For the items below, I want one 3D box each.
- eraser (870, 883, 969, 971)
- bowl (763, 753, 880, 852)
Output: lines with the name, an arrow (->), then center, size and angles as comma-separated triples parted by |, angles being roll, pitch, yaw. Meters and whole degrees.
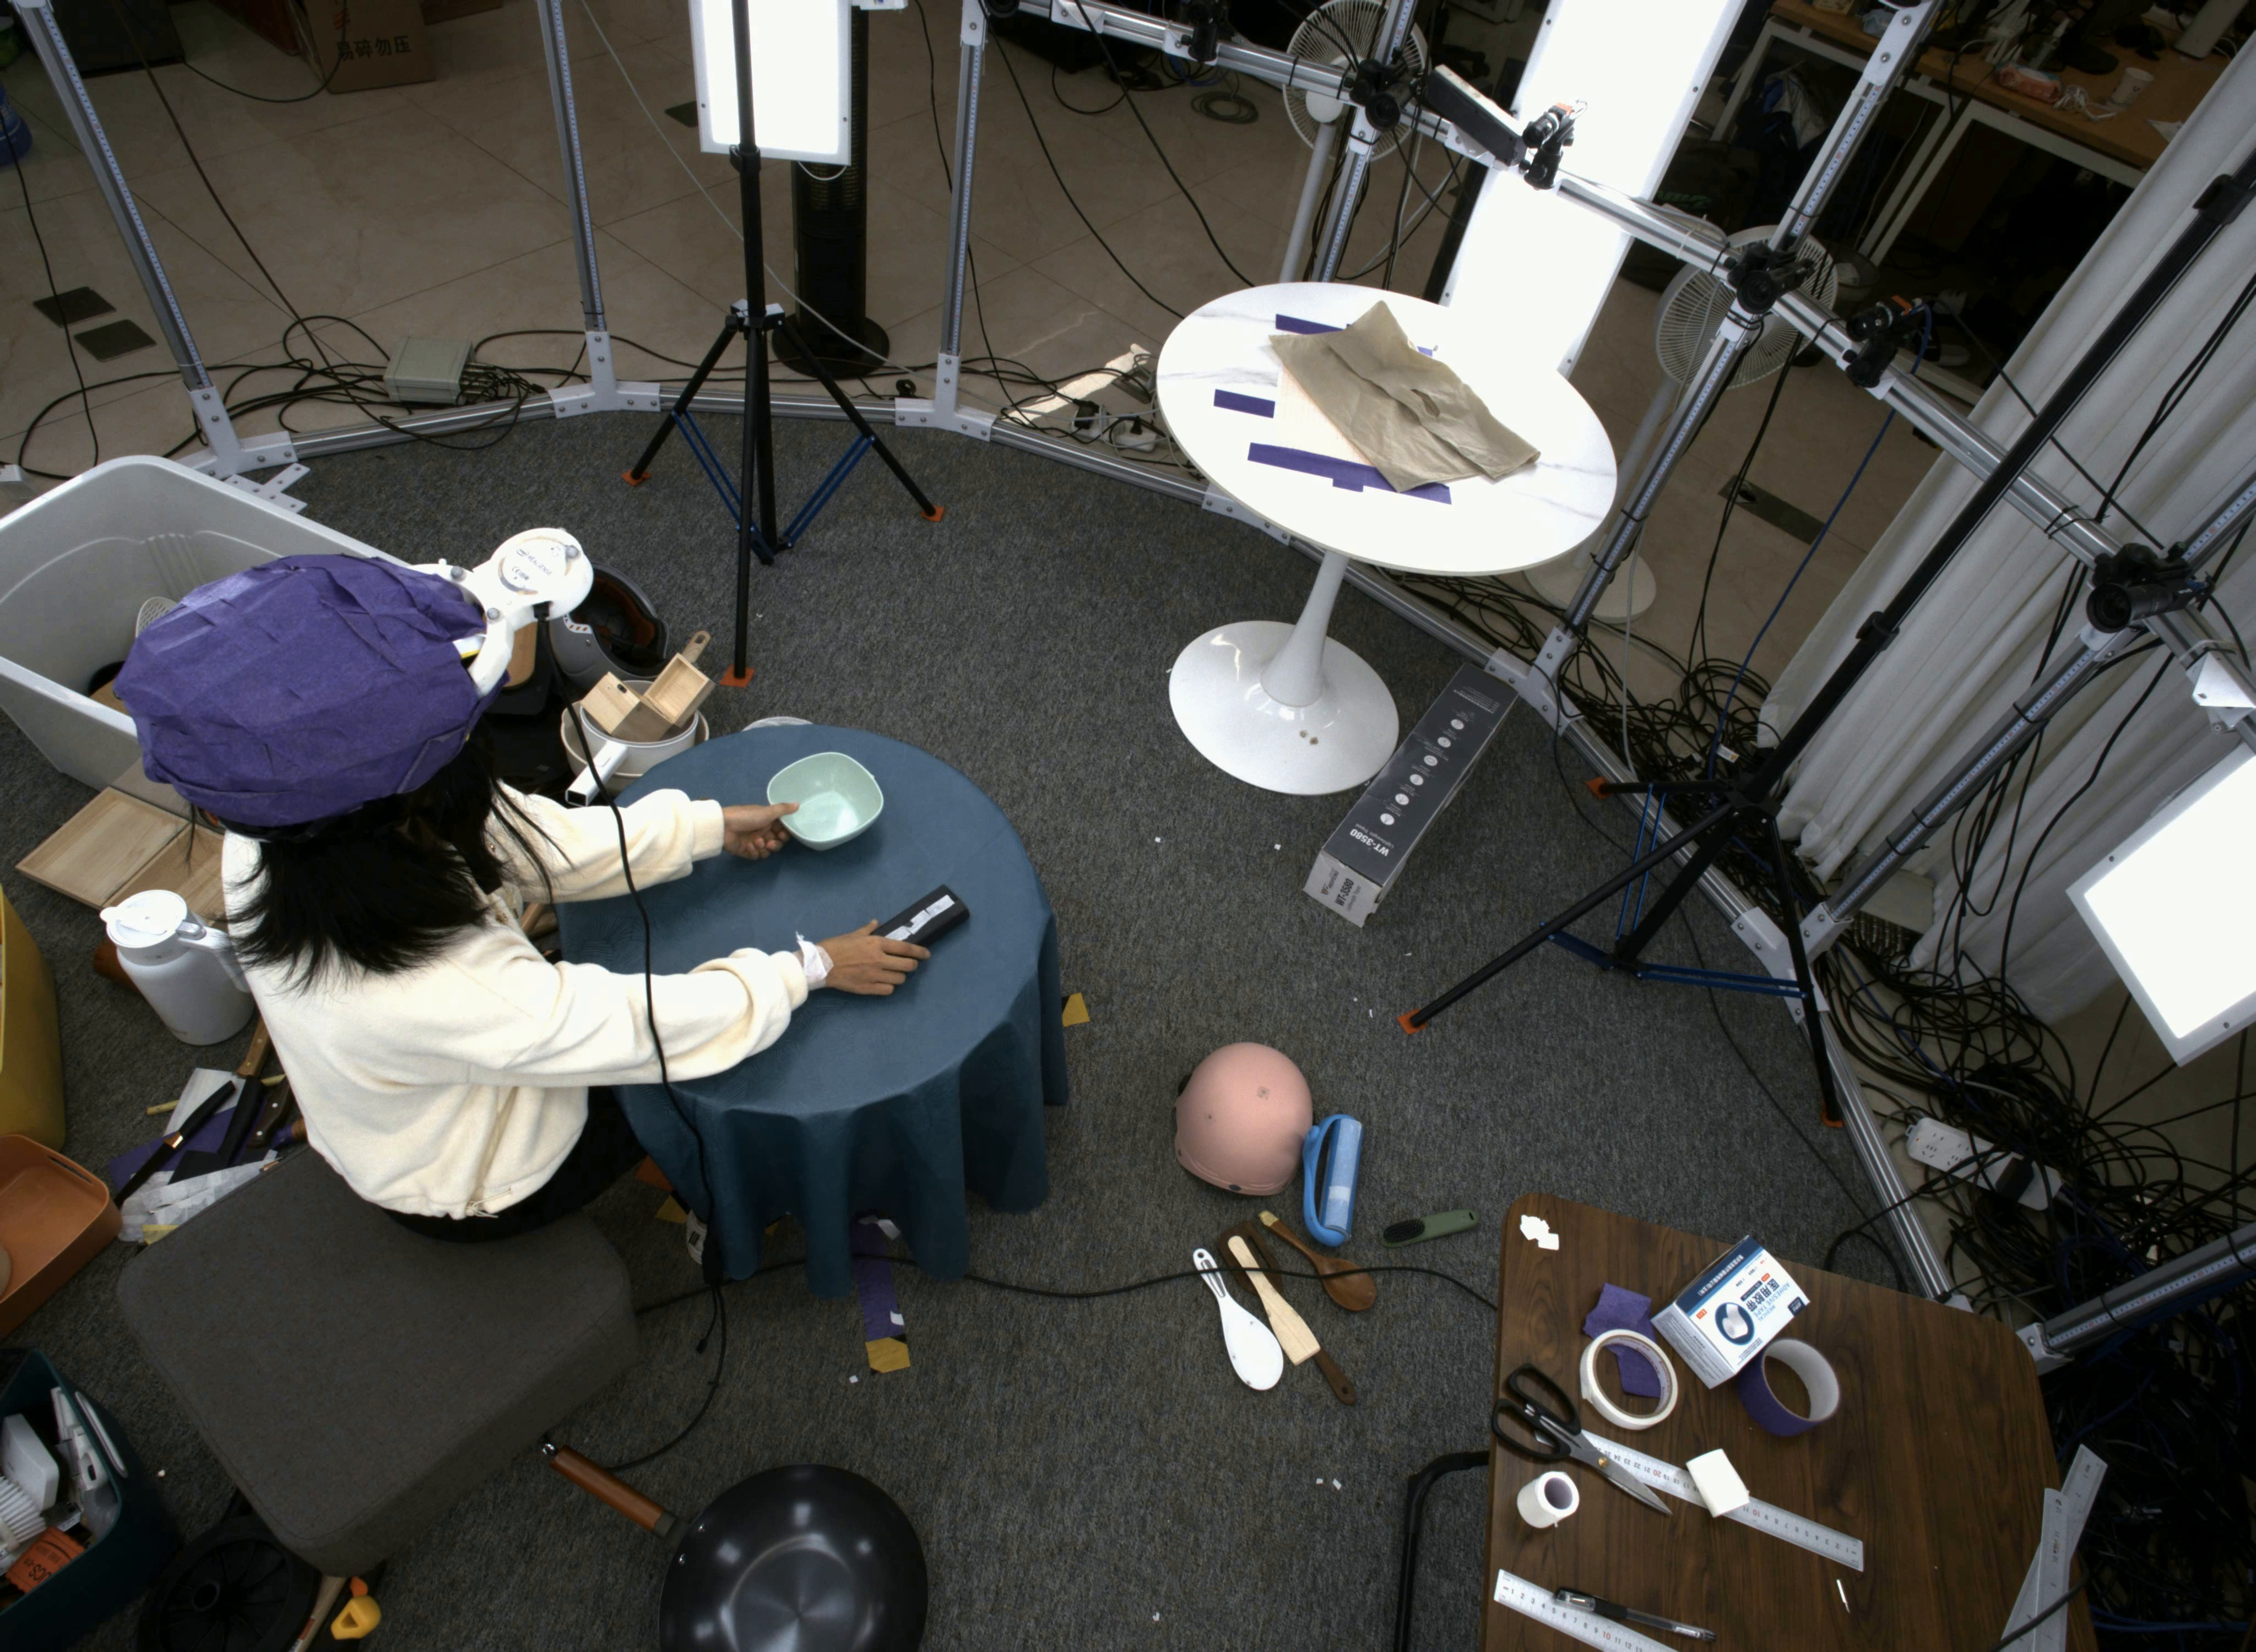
eraser -> -0.263, 0.125, 1.651 | 0.052, 0.031, 0.125 | 39, 57, 18
bowl -> -0.401, -0.023, 1.704 | 0.151, 0.060, 0.148 | 8, 49, -7
